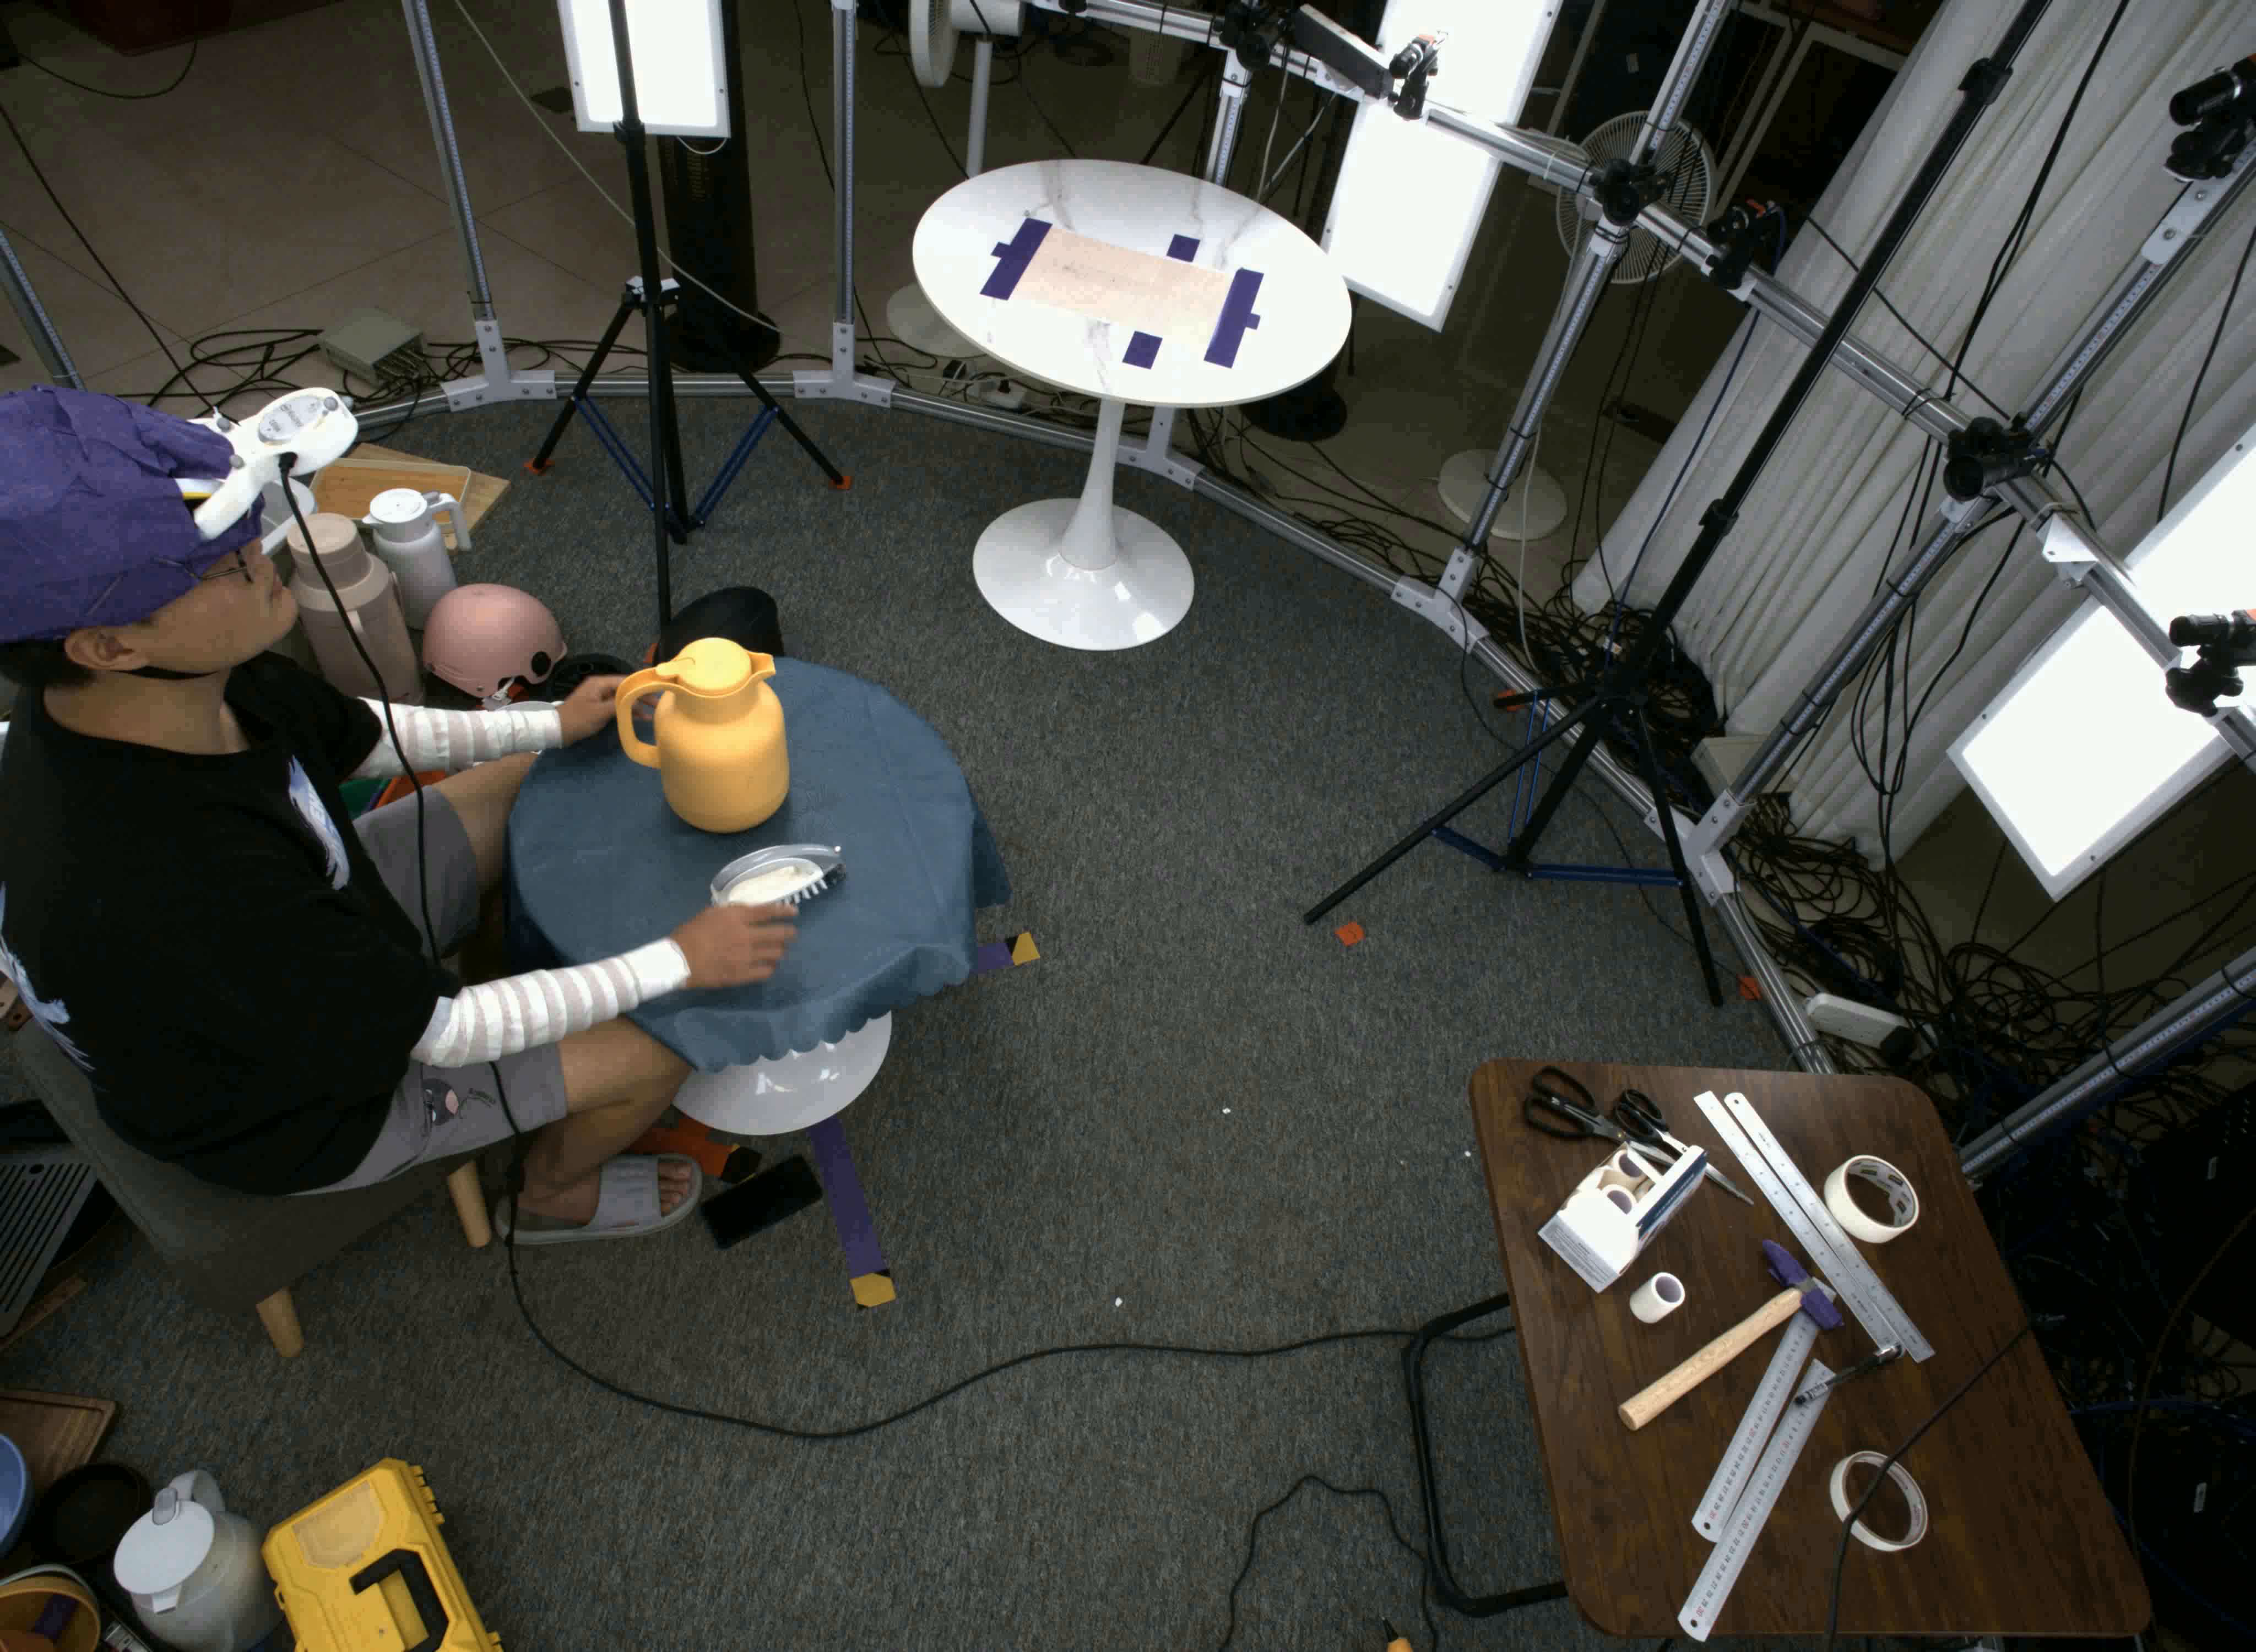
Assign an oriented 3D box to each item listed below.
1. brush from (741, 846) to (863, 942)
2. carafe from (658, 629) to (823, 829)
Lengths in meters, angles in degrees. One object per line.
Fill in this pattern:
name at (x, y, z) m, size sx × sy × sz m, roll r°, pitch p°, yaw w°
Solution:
brush at (-0.400, 0.065, 1.629) m, size 0.176 × 0.095 × 0.060 m, roll -32°, pitch 69°, yaw -37°
carafe at (-0.492, -0.128, 1.645) m, size 0.203 × 0.266 × 0.159 m, roll -5°, pitch 52°, yaw -17°
